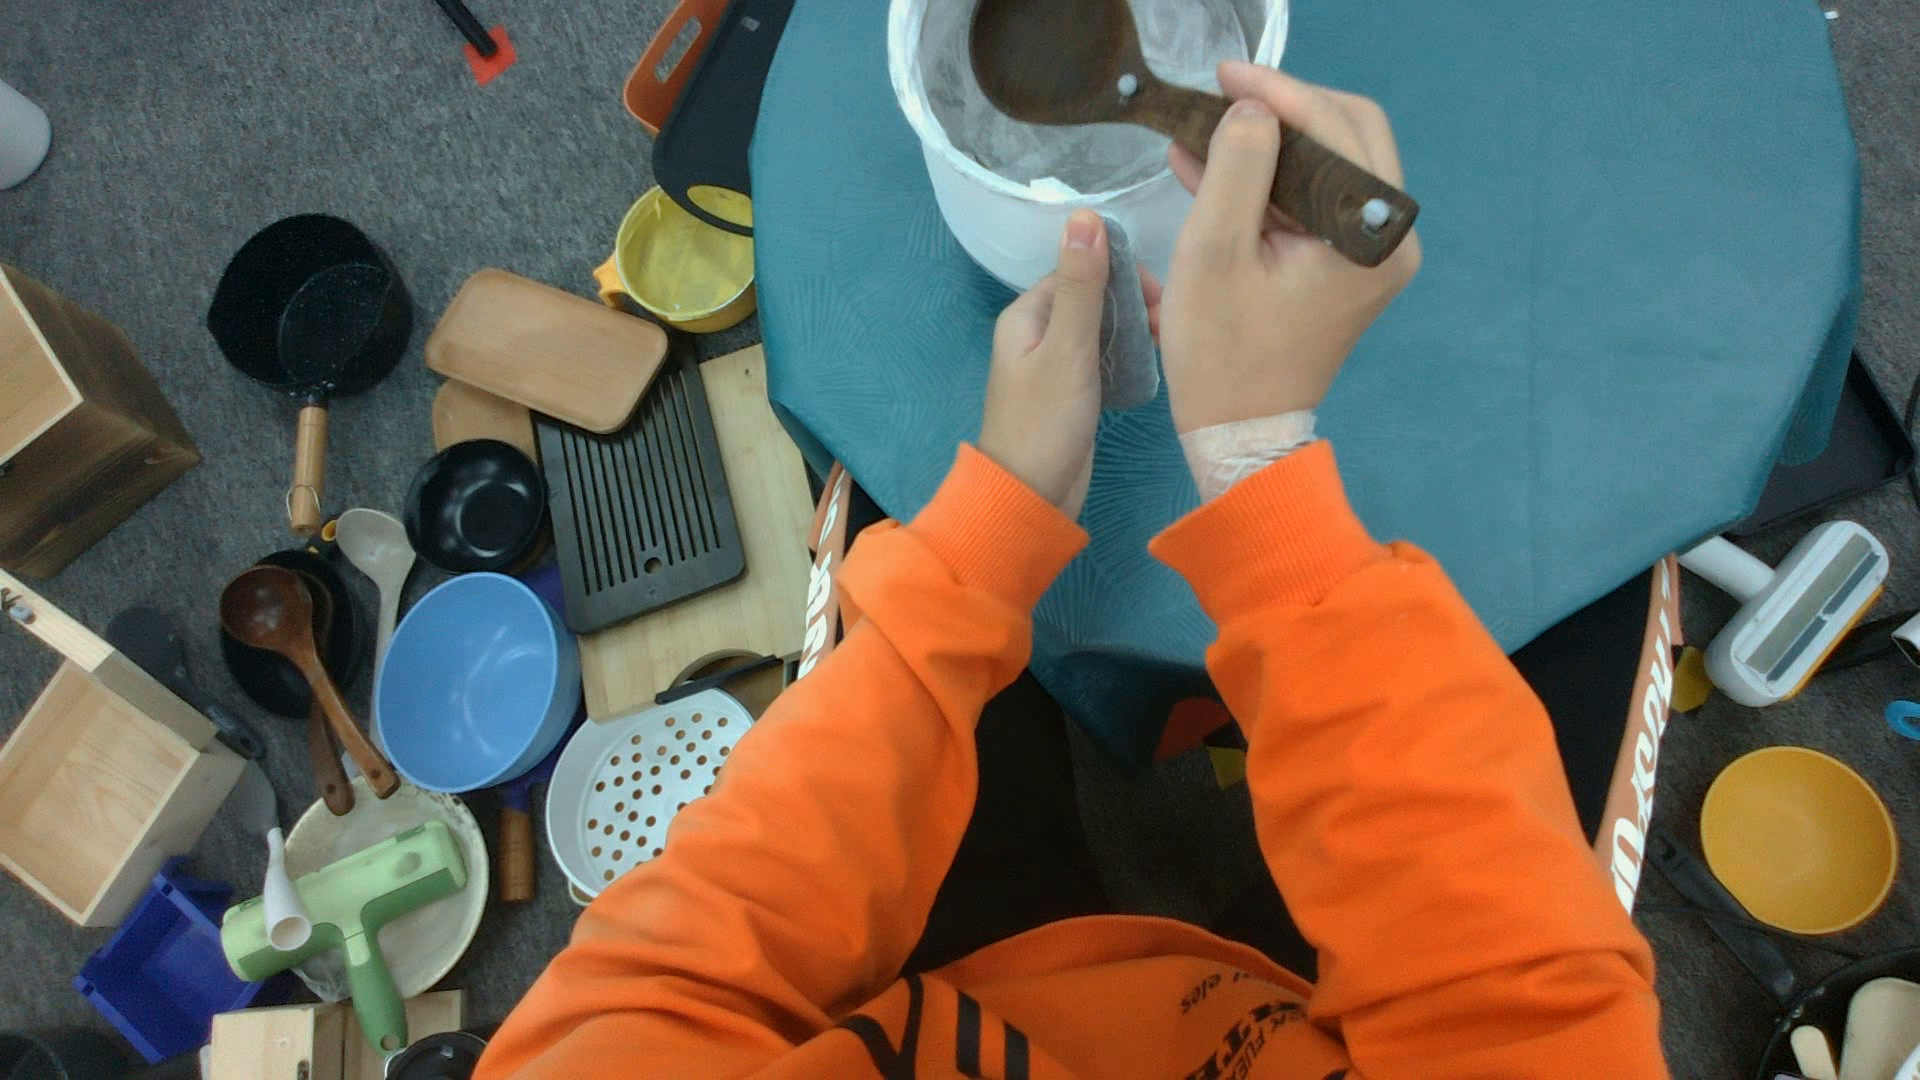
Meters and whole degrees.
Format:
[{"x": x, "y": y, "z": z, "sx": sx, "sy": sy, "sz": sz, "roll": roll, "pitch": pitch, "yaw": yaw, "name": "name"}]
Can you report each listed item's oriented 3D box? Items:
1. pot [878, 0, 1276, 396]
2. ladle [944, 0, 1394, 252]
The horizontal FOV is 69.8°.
[{"x": 0.063, "y": -0.193, "z": 0.665, "sx": 0.178, "sy": 0.136, "sz": 0.234, "roll": -7, "pitch": 75, "yaw": 8, "name": "pot"}, {"x": 0.066, "y": -0.176, "z": 0.542, "sx": 0.076, "sy": 0.071, "sz": 0.274, "roll": -56, "pitch": 31, "yaw": 14, "name": "ladle"}]
